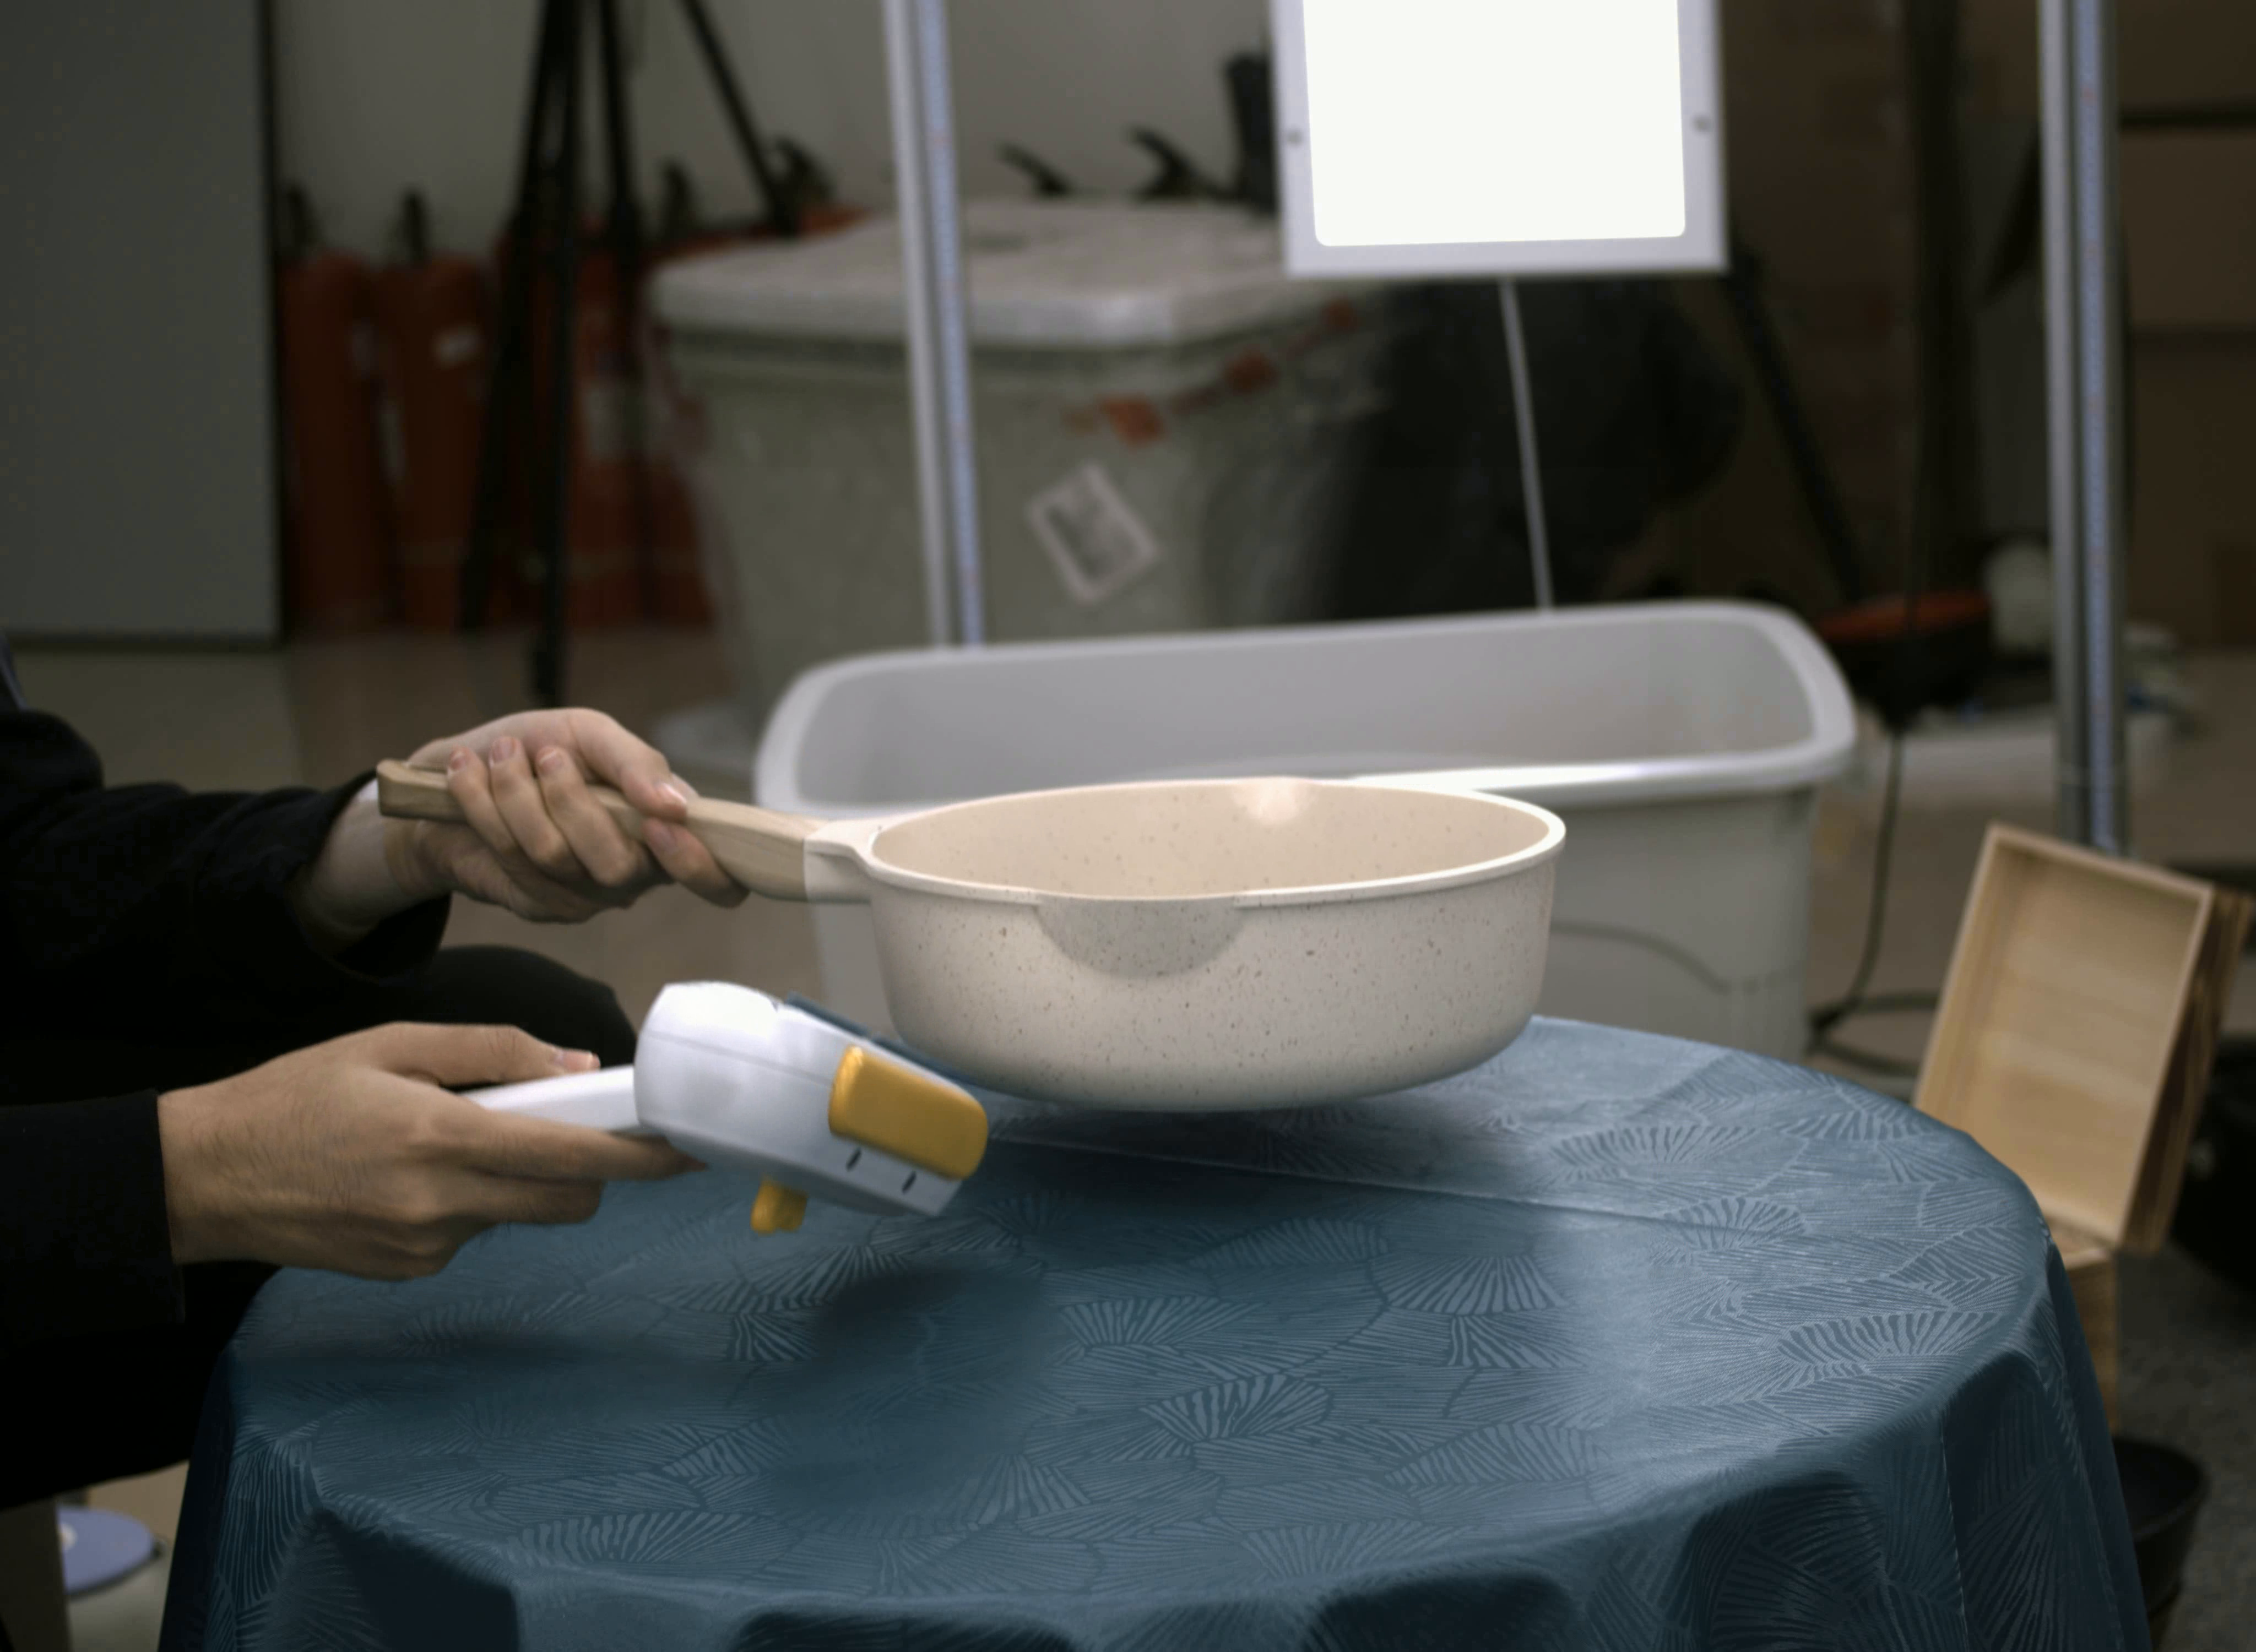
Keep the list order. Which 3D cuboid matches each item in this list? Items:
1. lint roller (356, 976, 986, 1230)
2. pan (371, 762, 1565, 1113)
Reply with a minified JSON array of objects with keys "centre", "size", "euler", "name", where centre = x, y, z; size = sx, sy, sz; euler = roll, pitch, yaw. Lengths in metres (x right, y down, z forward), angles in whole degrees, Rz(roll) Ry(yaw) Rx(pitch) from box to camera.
[{"centre":[-0.159,0.090,1.775],"size":[0.195,0.074,0.190],"euler":[3,-6,22],"name":"lint roller"},{"centre":[-0.060,0.032,1.968],"size":[0.438,0.102,0.260],"euler":[0,11,14],"name":"pan"}]
